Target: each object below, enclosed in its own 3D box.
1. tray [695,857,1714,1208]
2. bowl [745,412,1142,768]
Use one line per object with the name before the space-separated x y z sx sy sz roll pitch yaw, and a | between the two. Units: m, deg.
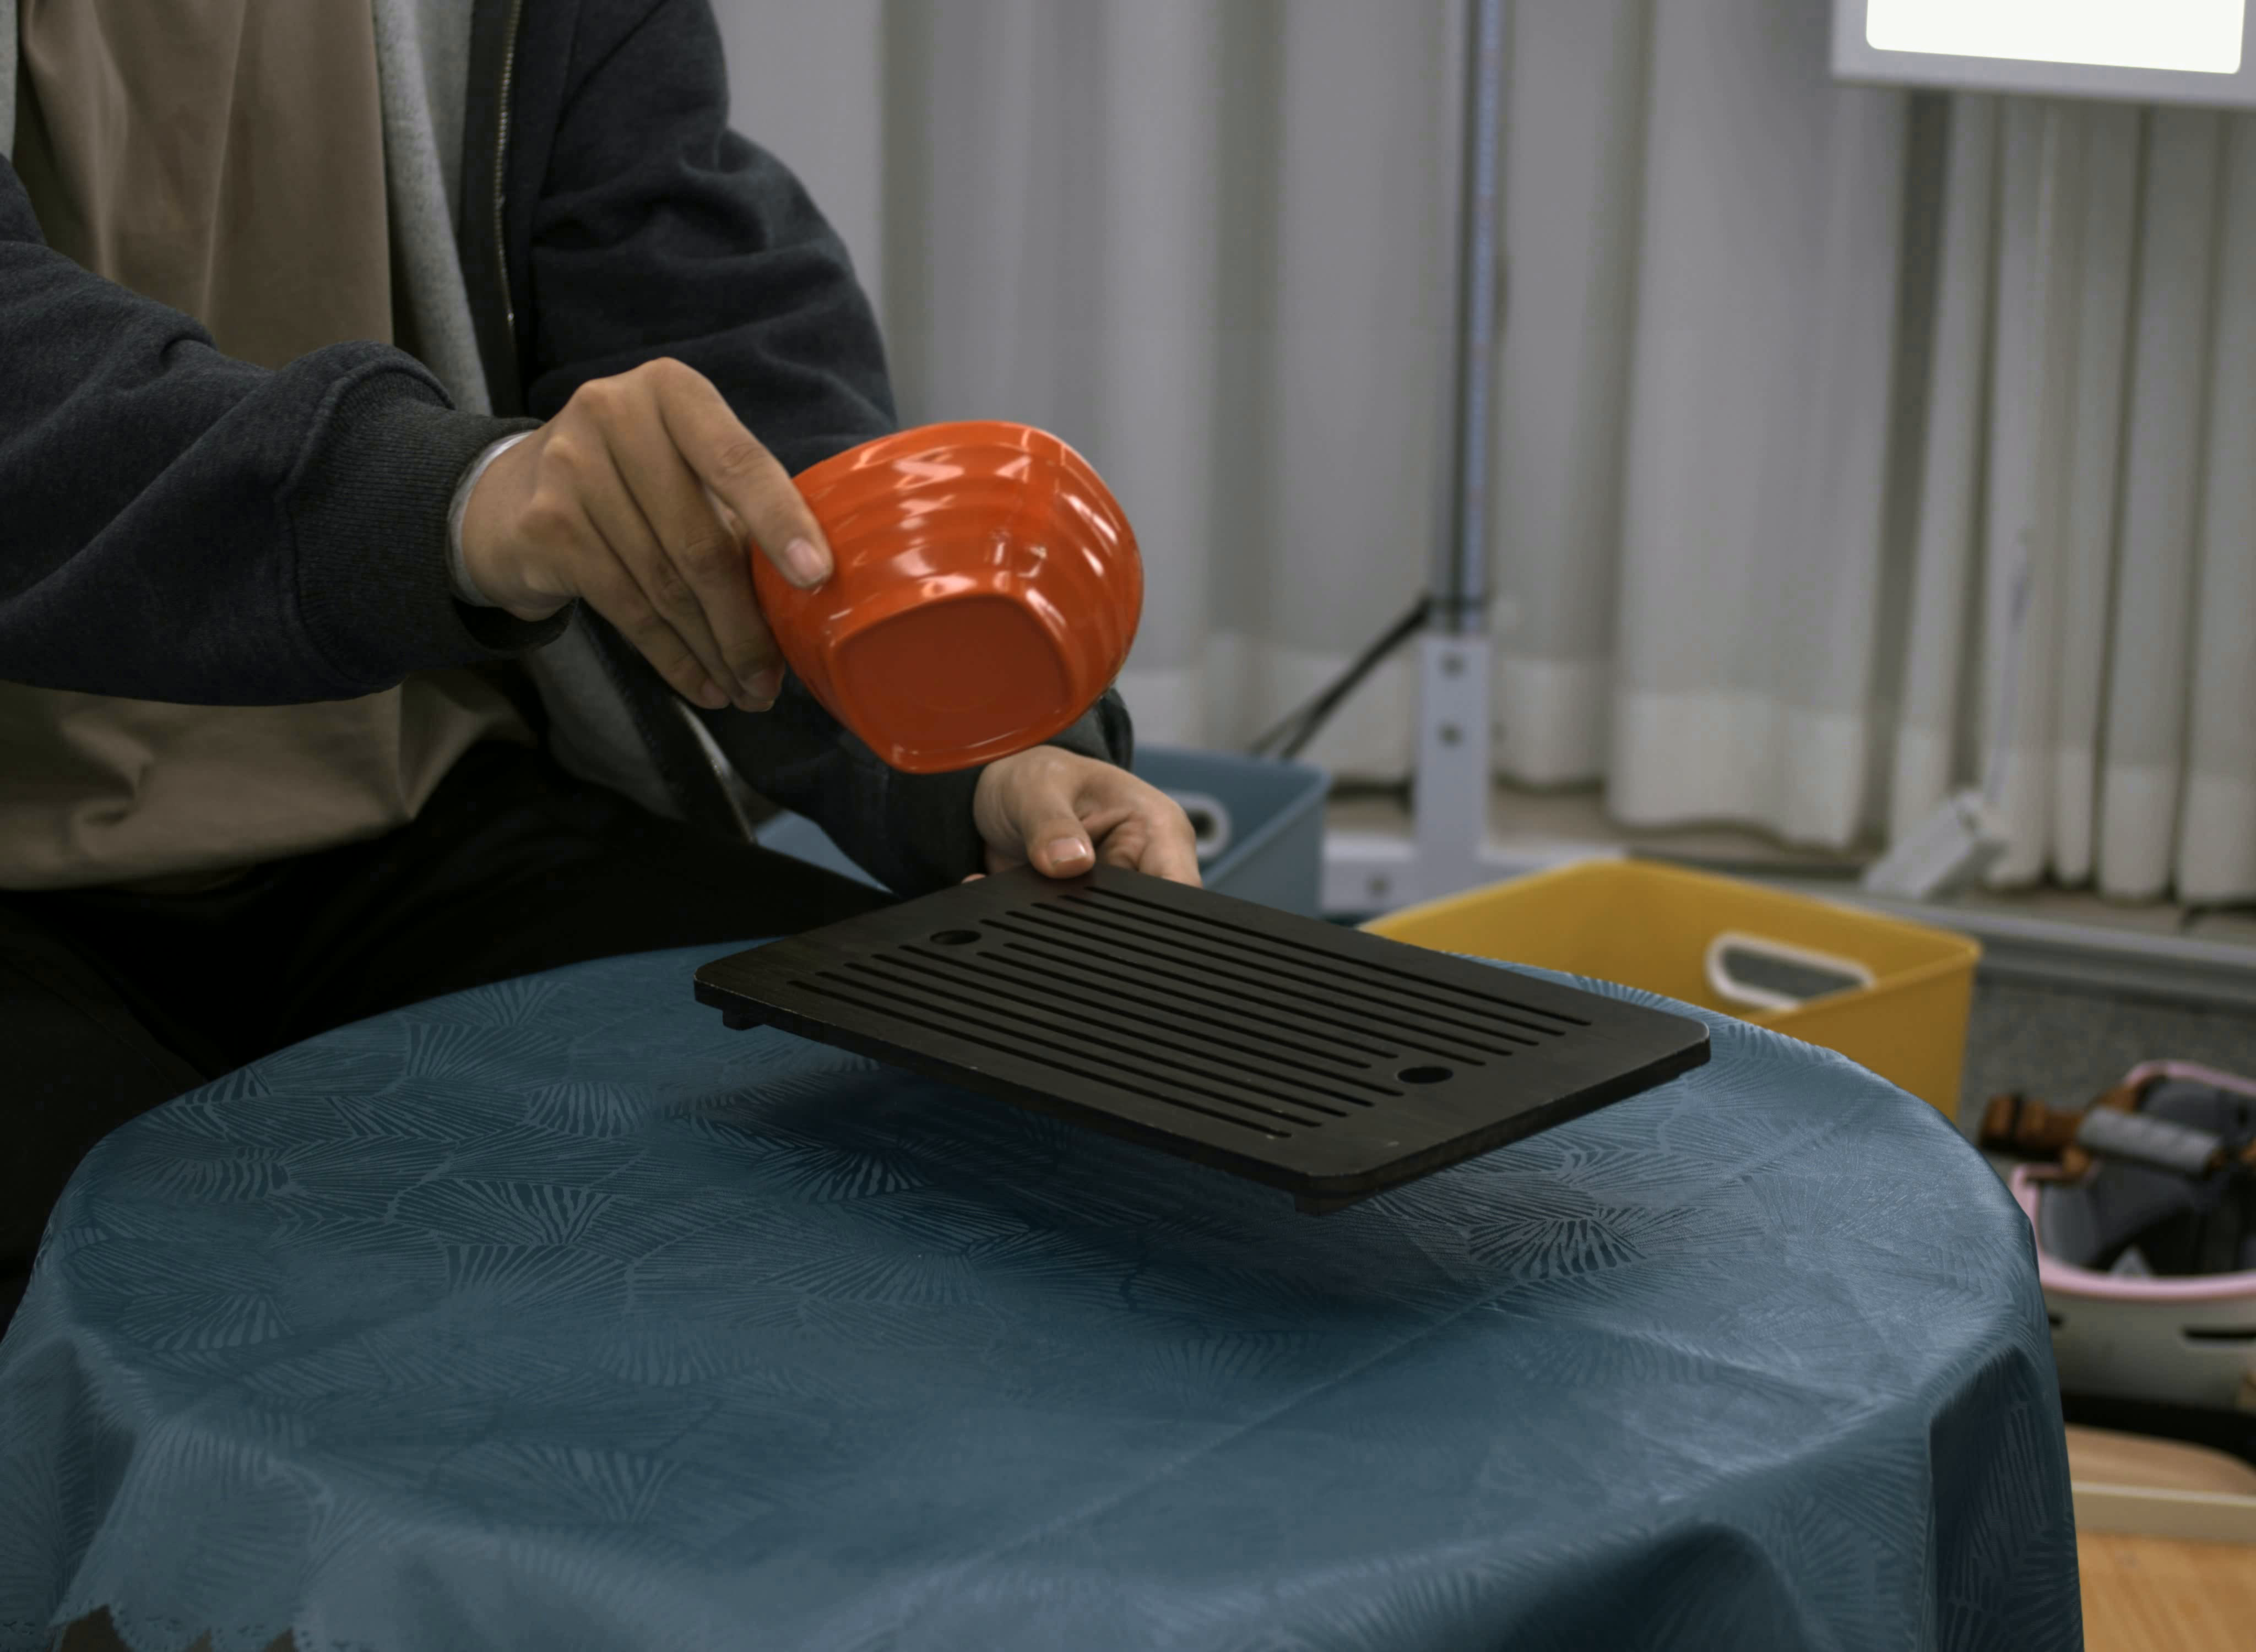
tray | 0.019 0.061 1.645 0.171 0.019 0.302 -17 21 -40
bowl | -0.052 -0.059 1.504 0.119 0.120 0.051 0 48 -4
